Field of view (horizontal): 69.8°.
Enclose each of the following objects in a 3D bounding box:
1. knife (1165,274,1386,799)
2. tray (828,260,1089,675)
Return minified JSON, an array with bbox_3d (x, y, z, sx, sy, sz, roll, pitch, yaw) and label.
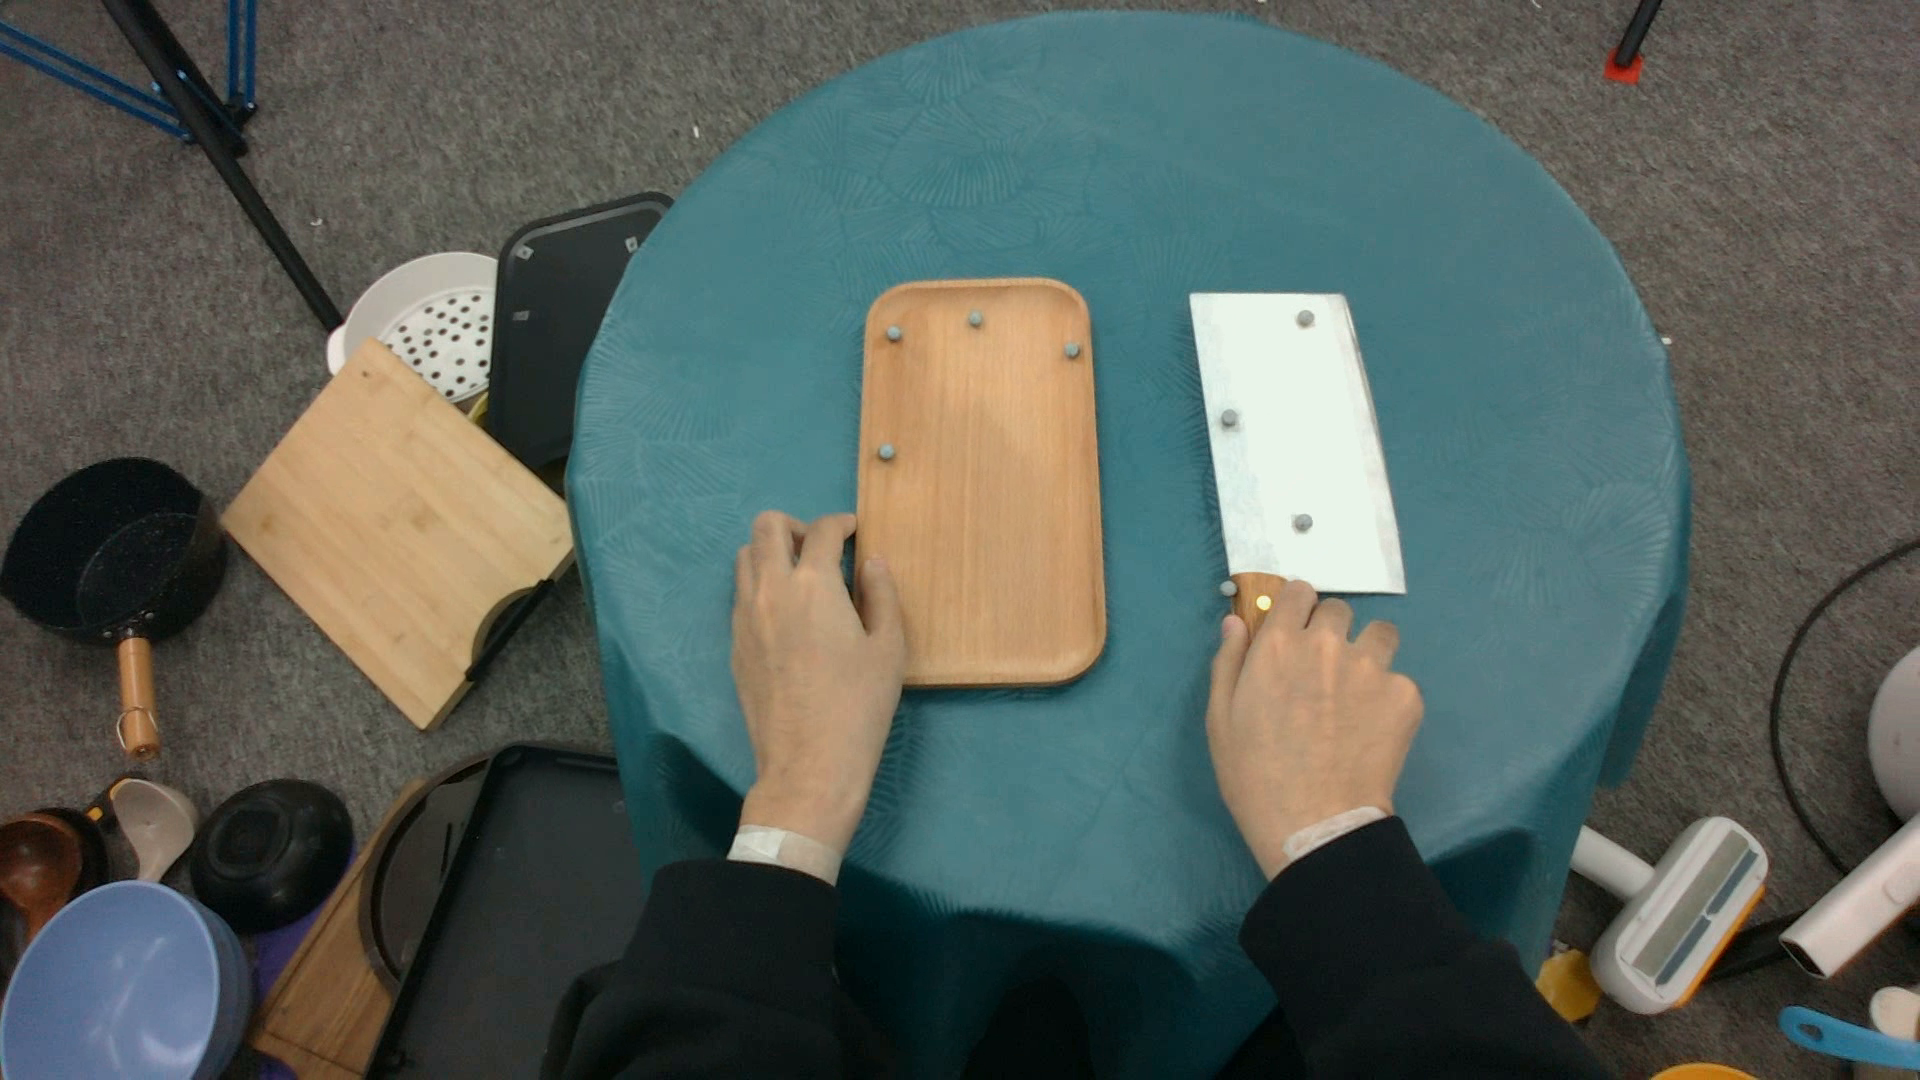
[{"bbox_3d":[0.167,-0.017,0.704,0.093,0.021,0.307,-1,60,-4],"label":"knife"},{"bbox_3d":[-0.001,-0.045,0.727,0.130,0.023,0.251,-2,62,4],"label":"tray"}]
